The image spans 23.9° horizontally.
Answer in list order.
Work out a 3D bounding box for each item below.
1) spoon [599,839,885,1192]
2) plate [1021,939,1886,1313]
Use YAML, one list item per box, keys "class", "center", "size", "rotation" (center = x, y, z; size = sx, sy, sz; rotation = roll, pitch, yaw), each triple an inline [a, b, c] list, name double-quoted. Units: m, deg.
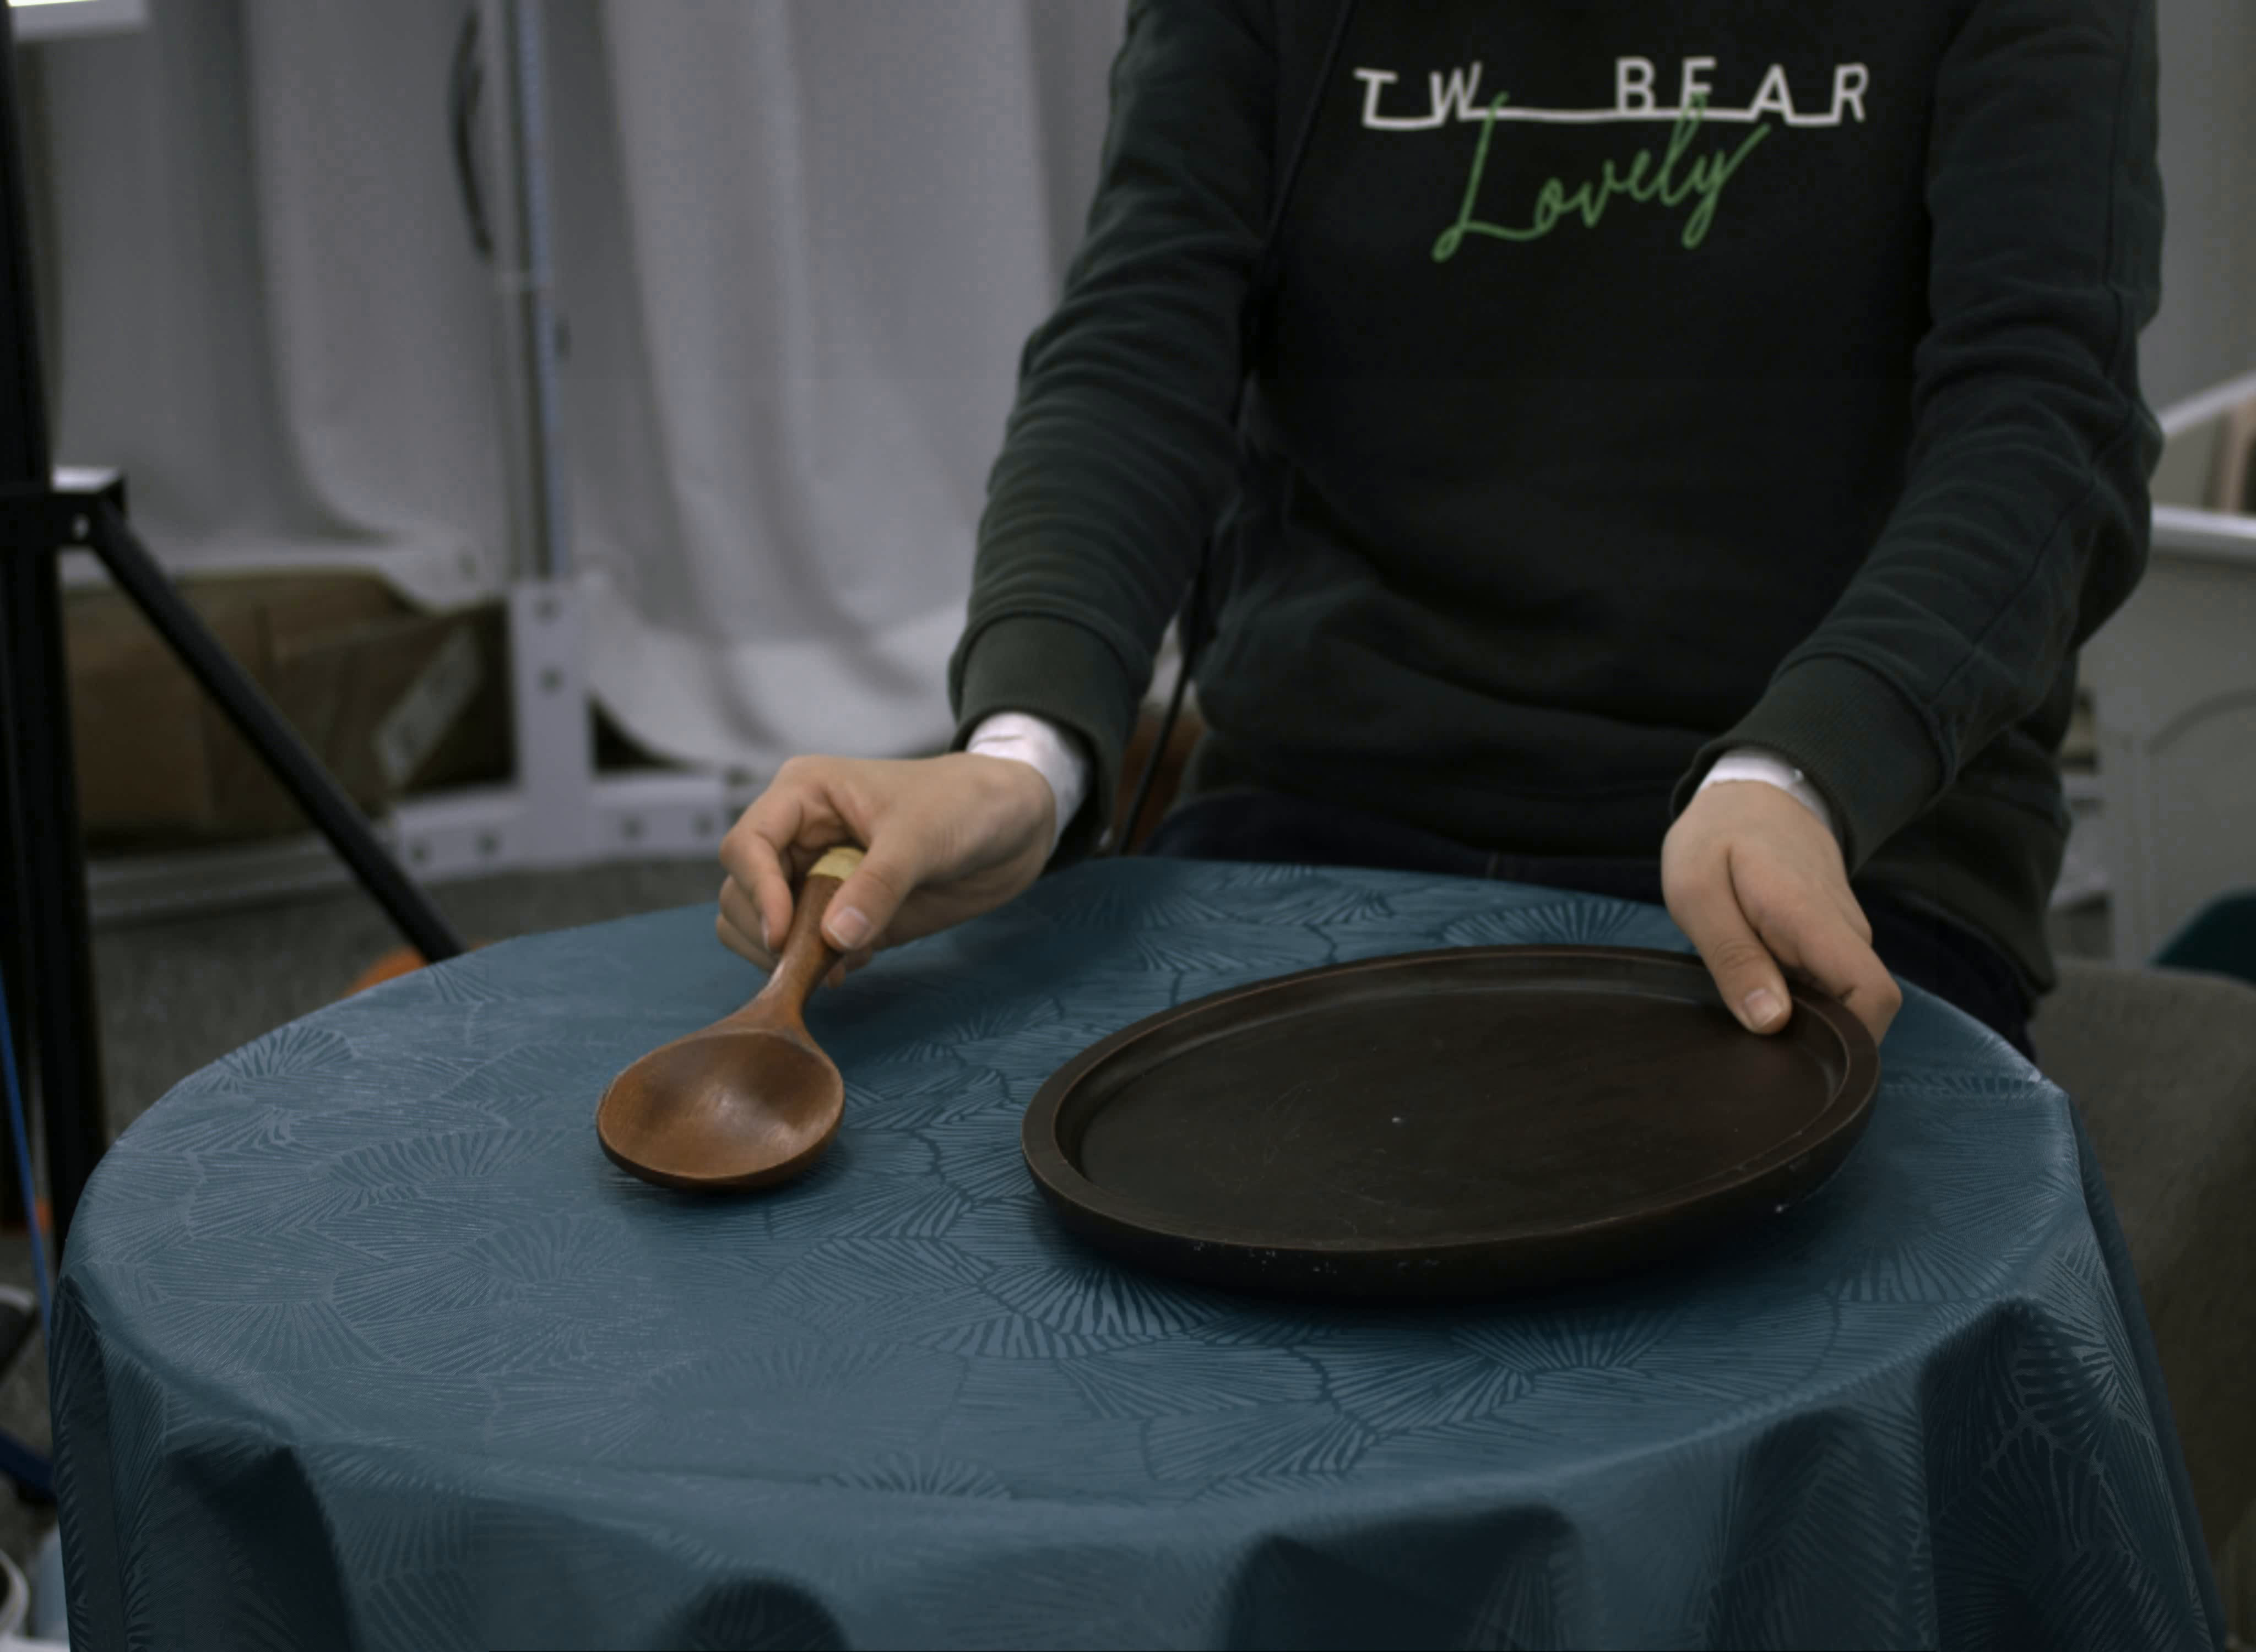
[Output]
- class: "spoon"
  center: [-0.109, 0.060, 1.658]
  size: [0.076, 0.017, 0.215]
  rotation: [3, 28, 11]
- class: "plate"
  center: [0.095, 0.086, 1.549]
  size: [0.254, 0.029, 0.256]
  rotation: [-7, 18, 1]
